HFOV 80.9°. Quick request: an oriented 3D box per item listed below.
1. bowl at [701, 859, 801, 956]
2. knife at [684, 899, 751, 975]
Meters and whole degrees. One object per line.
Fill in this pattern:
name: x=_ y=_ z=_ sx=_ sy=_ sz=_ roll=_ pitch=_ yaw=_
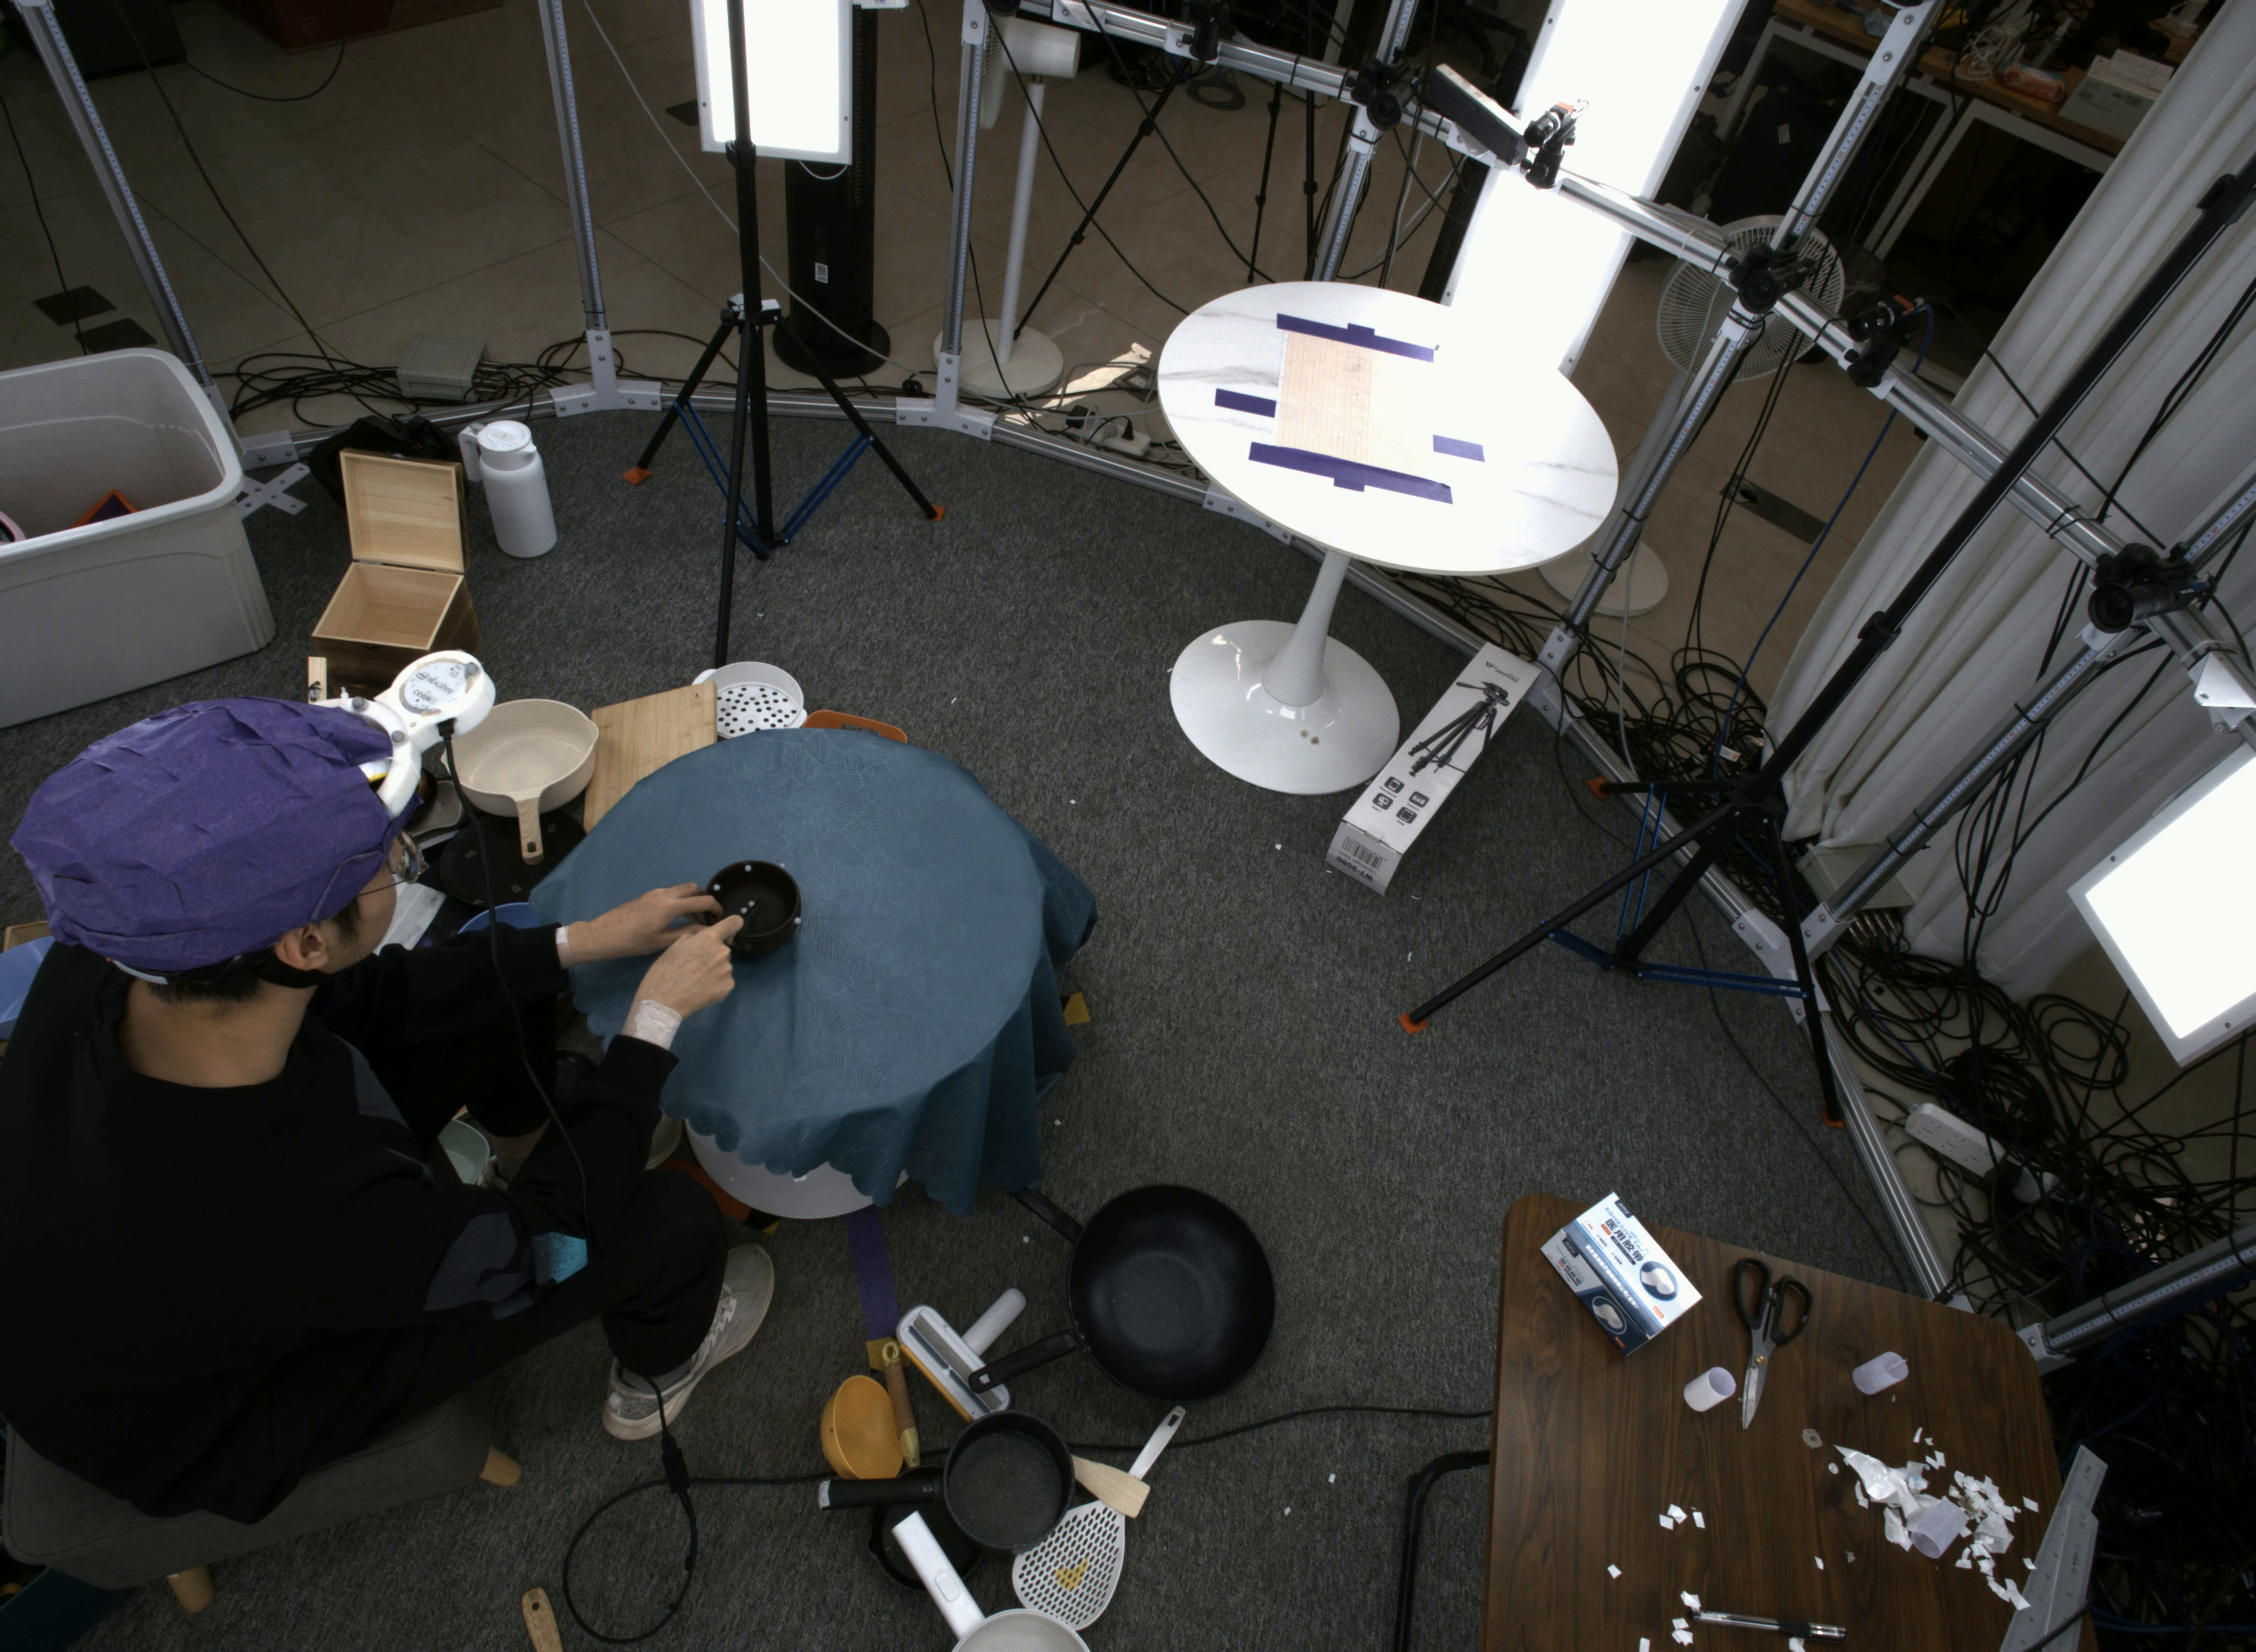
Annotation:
bowl: x=-0.458 y=0.105 z=1.577 sx=0.117 sy=0.071 sz=0.116 roll=6 pitch=52 yaw=-7
knife: x=-0.468 y=0.121 z=1.497 sx=0.026 sy=0.018 sz=0.222 roll=-8 pitch=16 yaw=5
